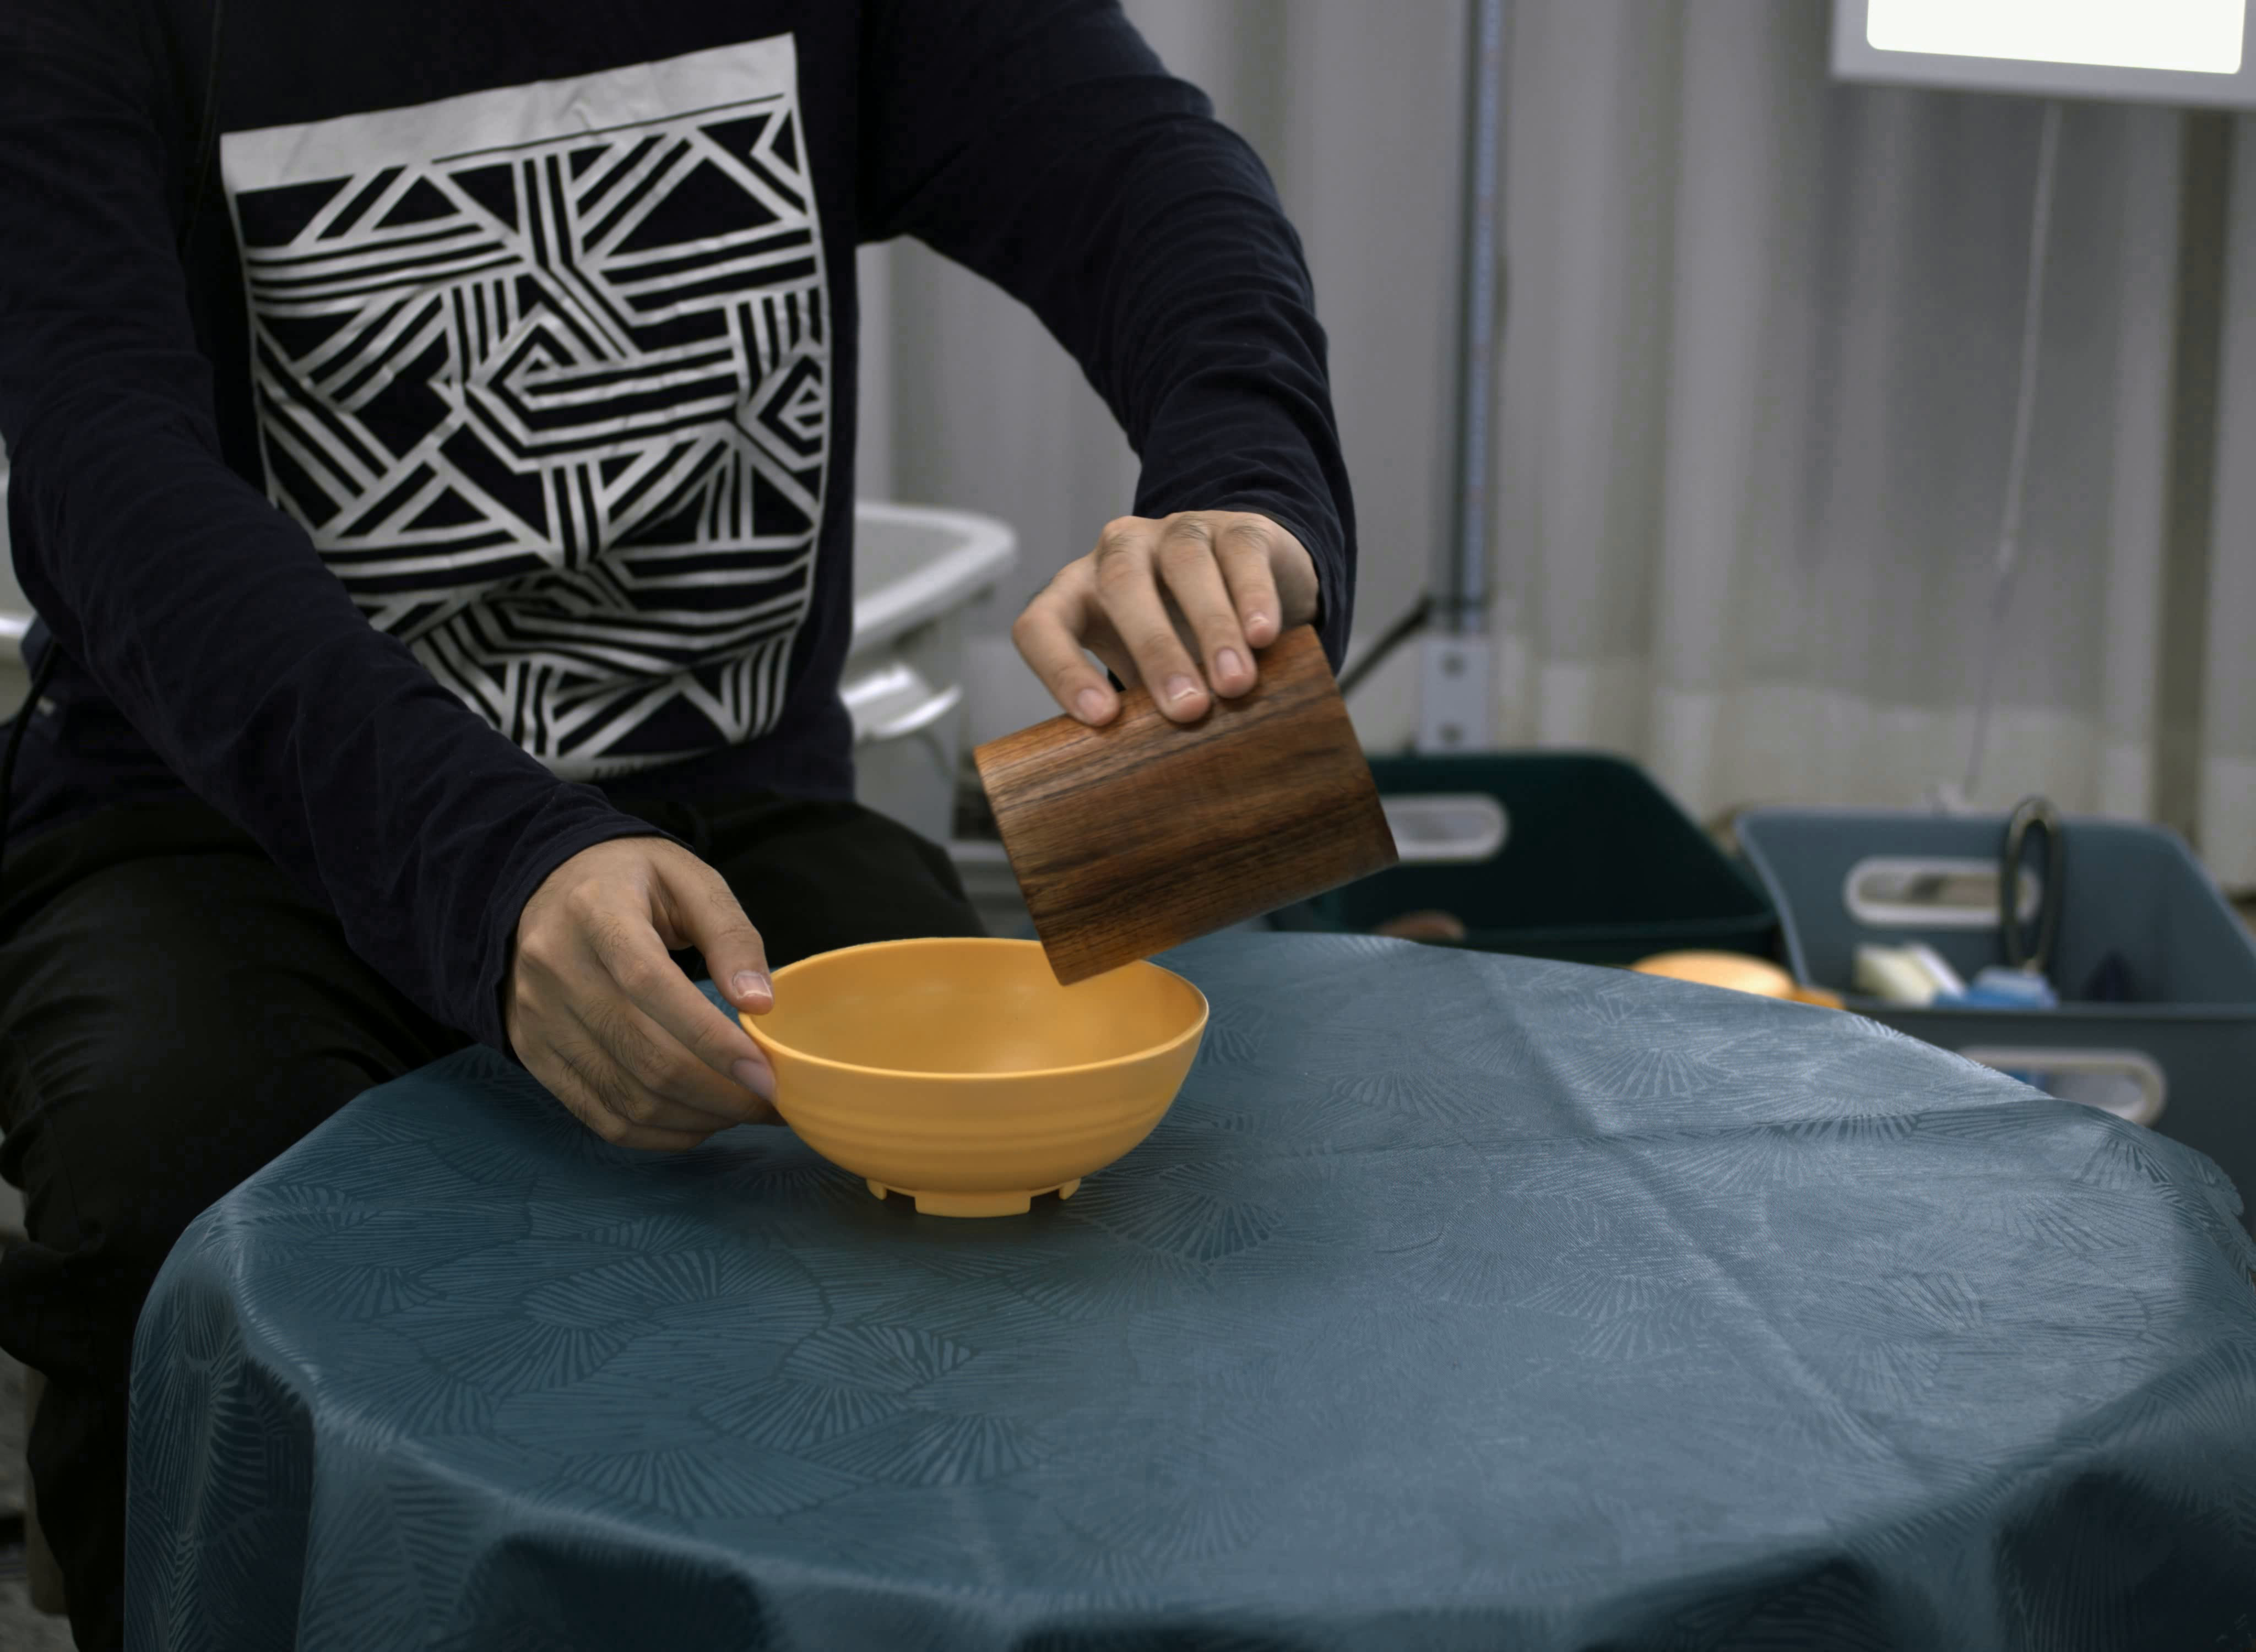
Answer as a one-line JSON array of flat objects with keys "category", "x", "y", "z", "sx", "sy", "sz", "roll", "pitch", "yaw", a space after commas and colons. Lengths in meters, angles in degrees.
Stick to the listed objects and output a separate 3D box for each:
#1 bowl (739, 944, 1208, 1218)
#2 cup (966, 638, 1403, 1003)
[{"category": "bowl", "x": -0.048, "y": 0.083, "z": 1.622, "sx": 0.145, "sy": 0.060, "sz": 0.144, "roll": 1, "pitch": 14, "yaw": 0}, {"category": "cup", "x": 0.017, "y": -0.002, "z": 1.613, "sx": 0.118, "sy": 0.088, "sz": 0.087, "roll": -16, "pitch": 17, "yaw": 0}]
